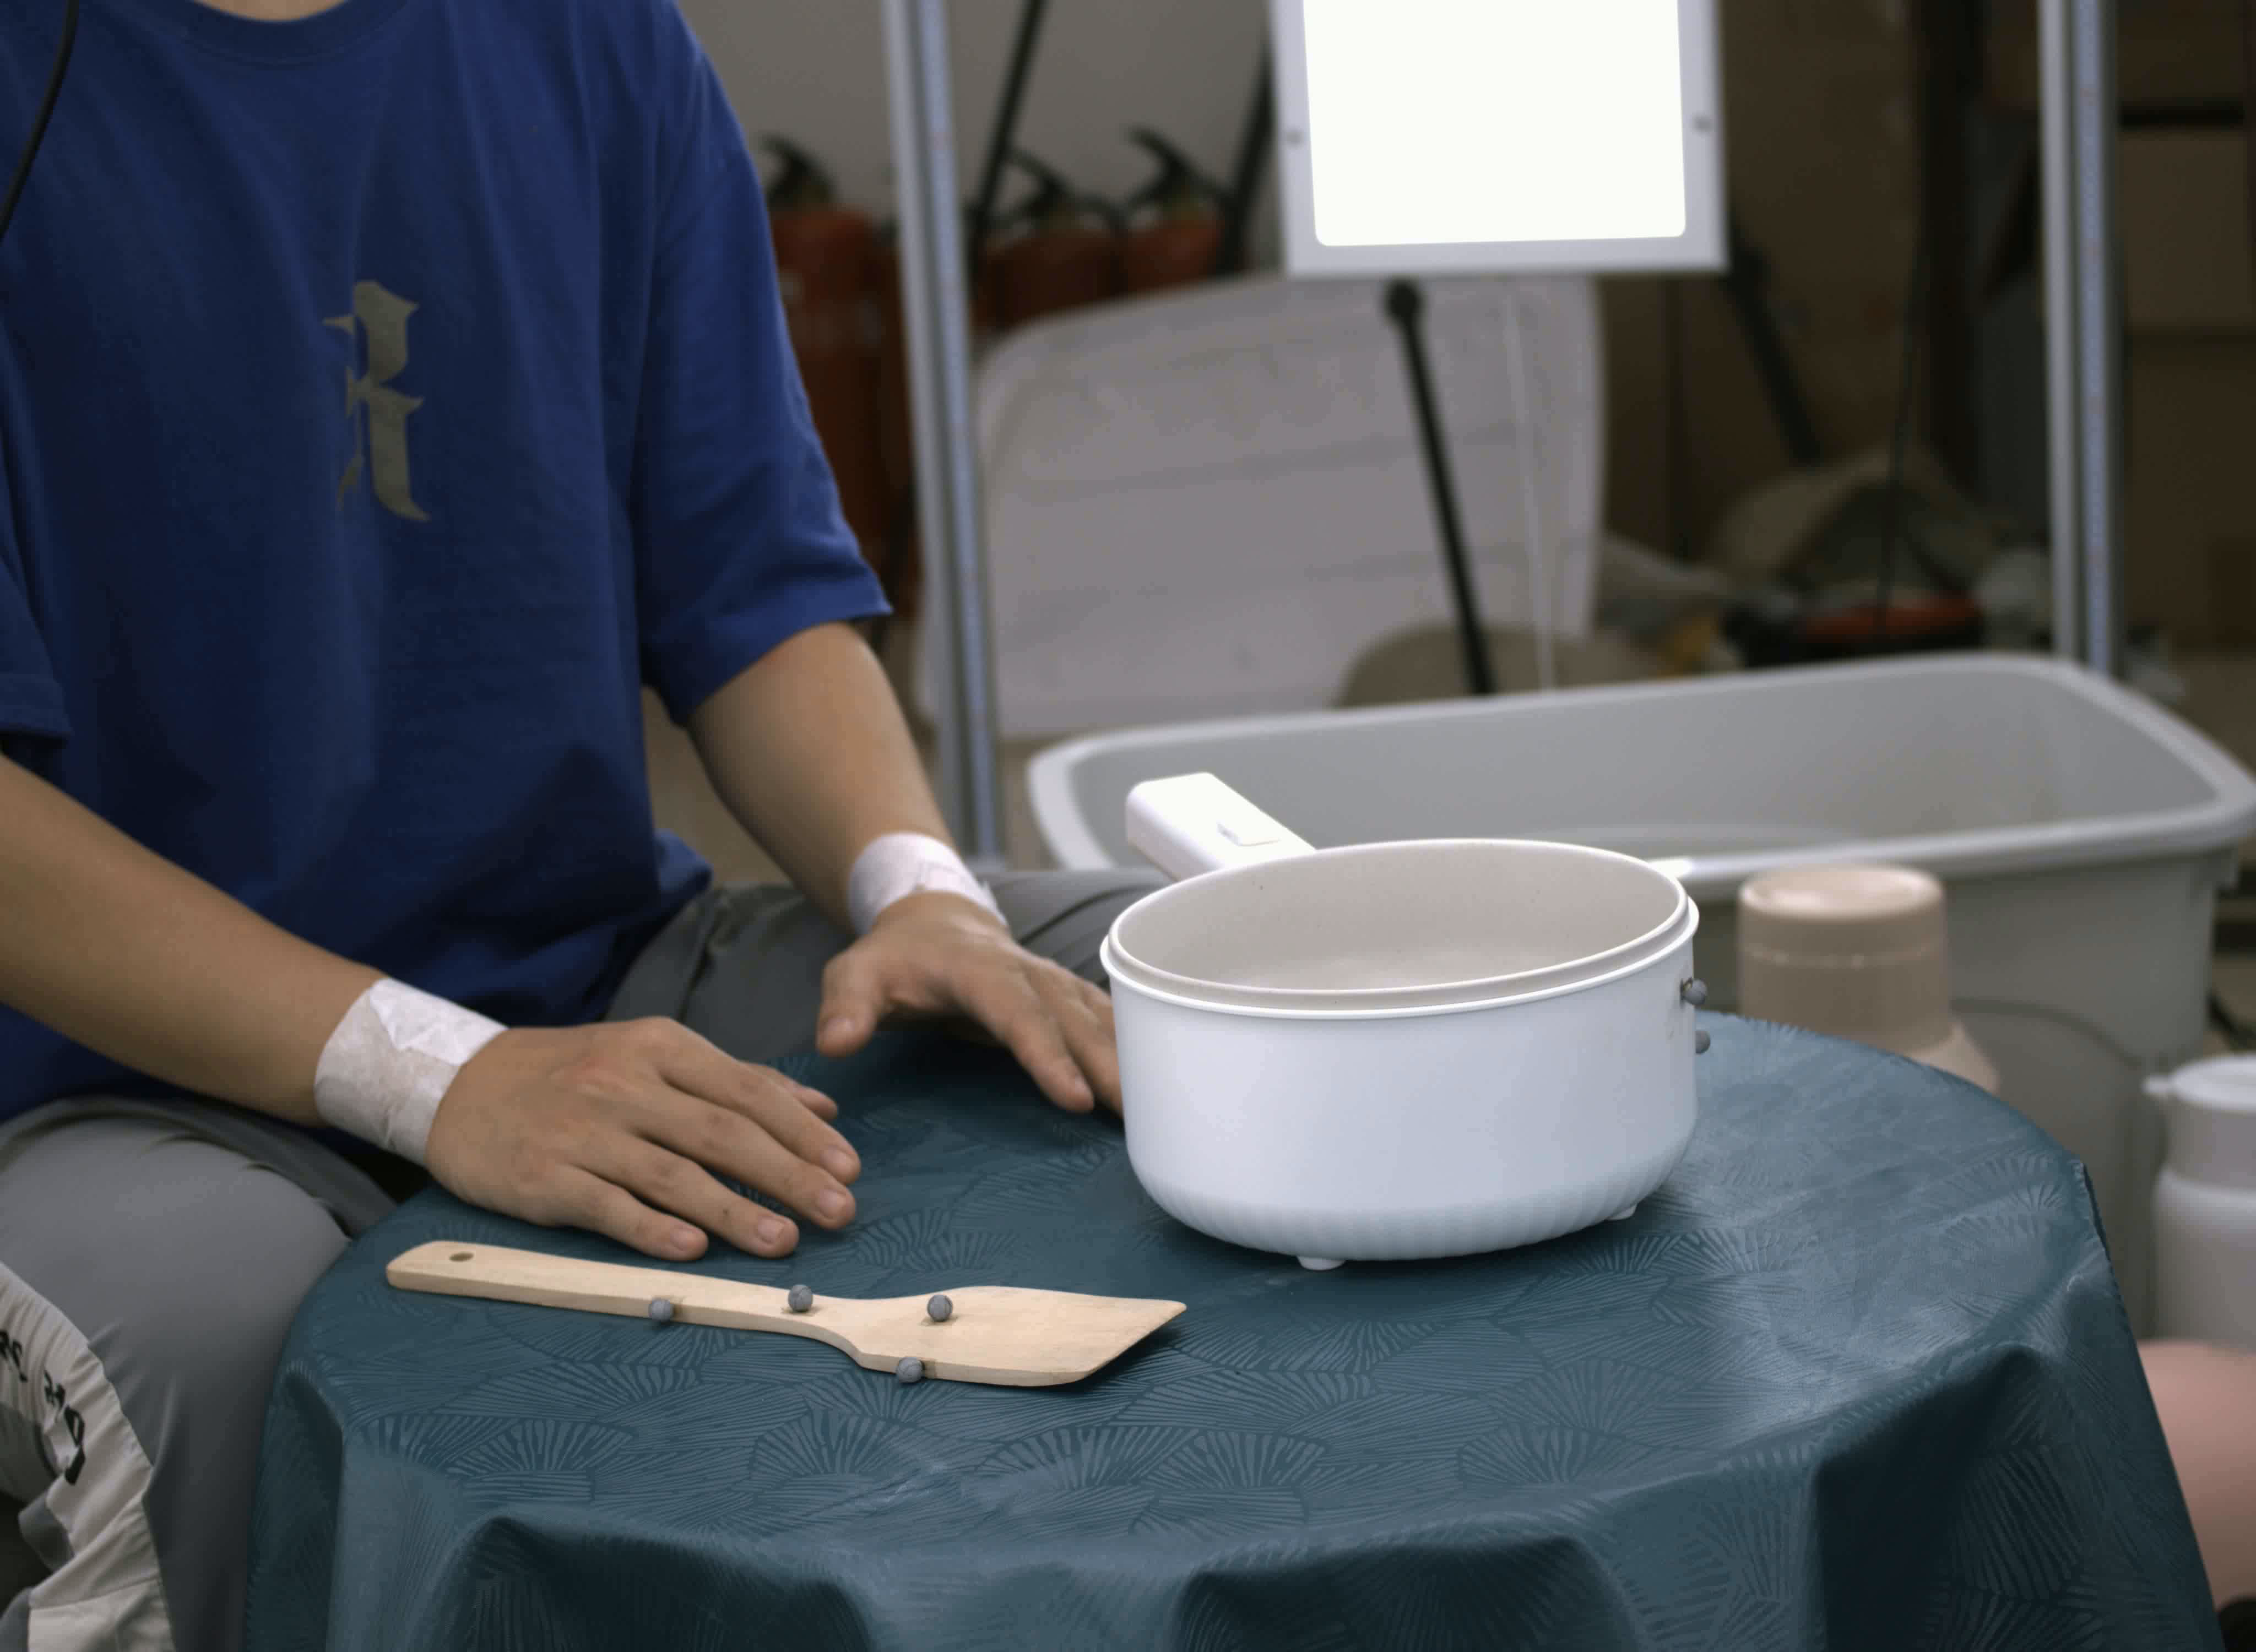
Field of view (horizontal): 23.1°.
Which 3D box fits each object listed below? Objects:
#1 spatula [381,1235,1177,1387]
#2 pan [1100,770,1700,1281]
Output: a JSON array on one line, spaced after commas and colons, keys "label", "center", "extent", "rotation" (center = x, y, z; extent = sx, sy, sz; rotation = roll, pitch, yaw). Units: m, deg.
[{"label": "spatula", "center": [-0.124, 0.156, 1.804], "extent": [0.298, 0.011, 0.070], "rotation": [4, 18, 32]}, {"label": "pan", "center": [0.072, 0.063, 1.925], "extent": [0.198, 0.102, 0.358], "rotation": [-11, 15, -14]}]
